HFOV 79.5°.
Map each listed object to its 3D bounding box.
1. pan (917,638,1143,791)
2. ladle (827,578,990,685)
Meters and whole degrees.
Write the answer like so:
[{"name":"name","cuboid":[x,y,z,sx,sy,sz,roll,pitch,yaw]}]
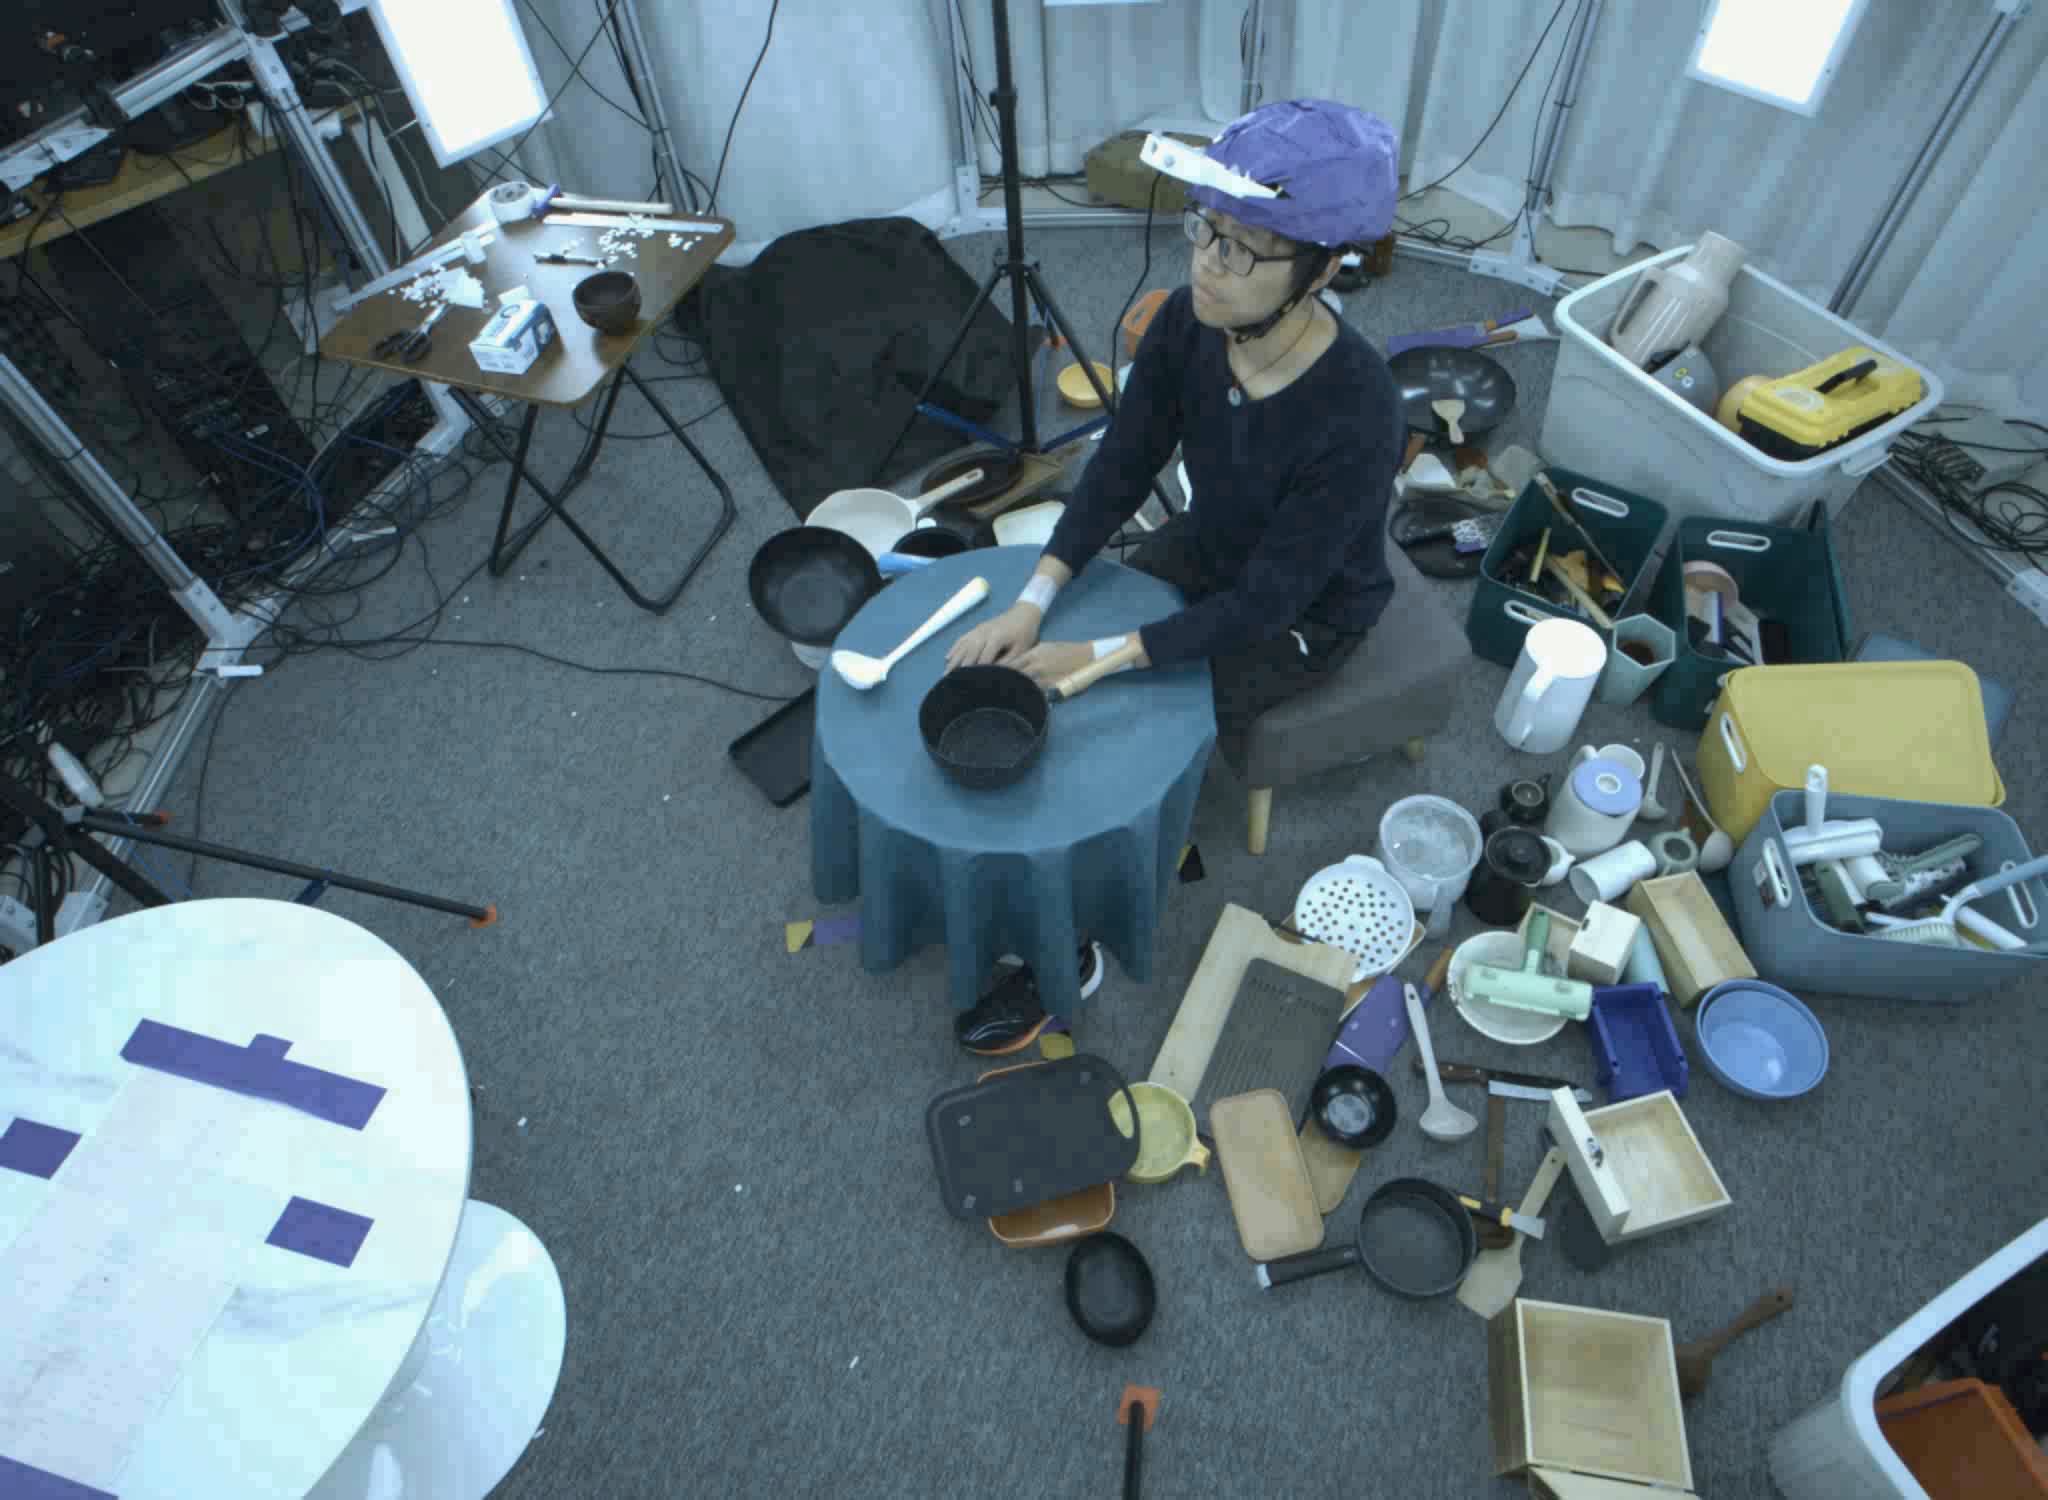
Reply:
[{"name":"pan","cuboid":[0.015,-0.064,1.765,0.345,0.109,0.203,-24,56,-12]},{"name":"ladle","cuboid":[-0.172,-0.191,1.889,0.295,0.071,0.088,-38,56,-23]}]
